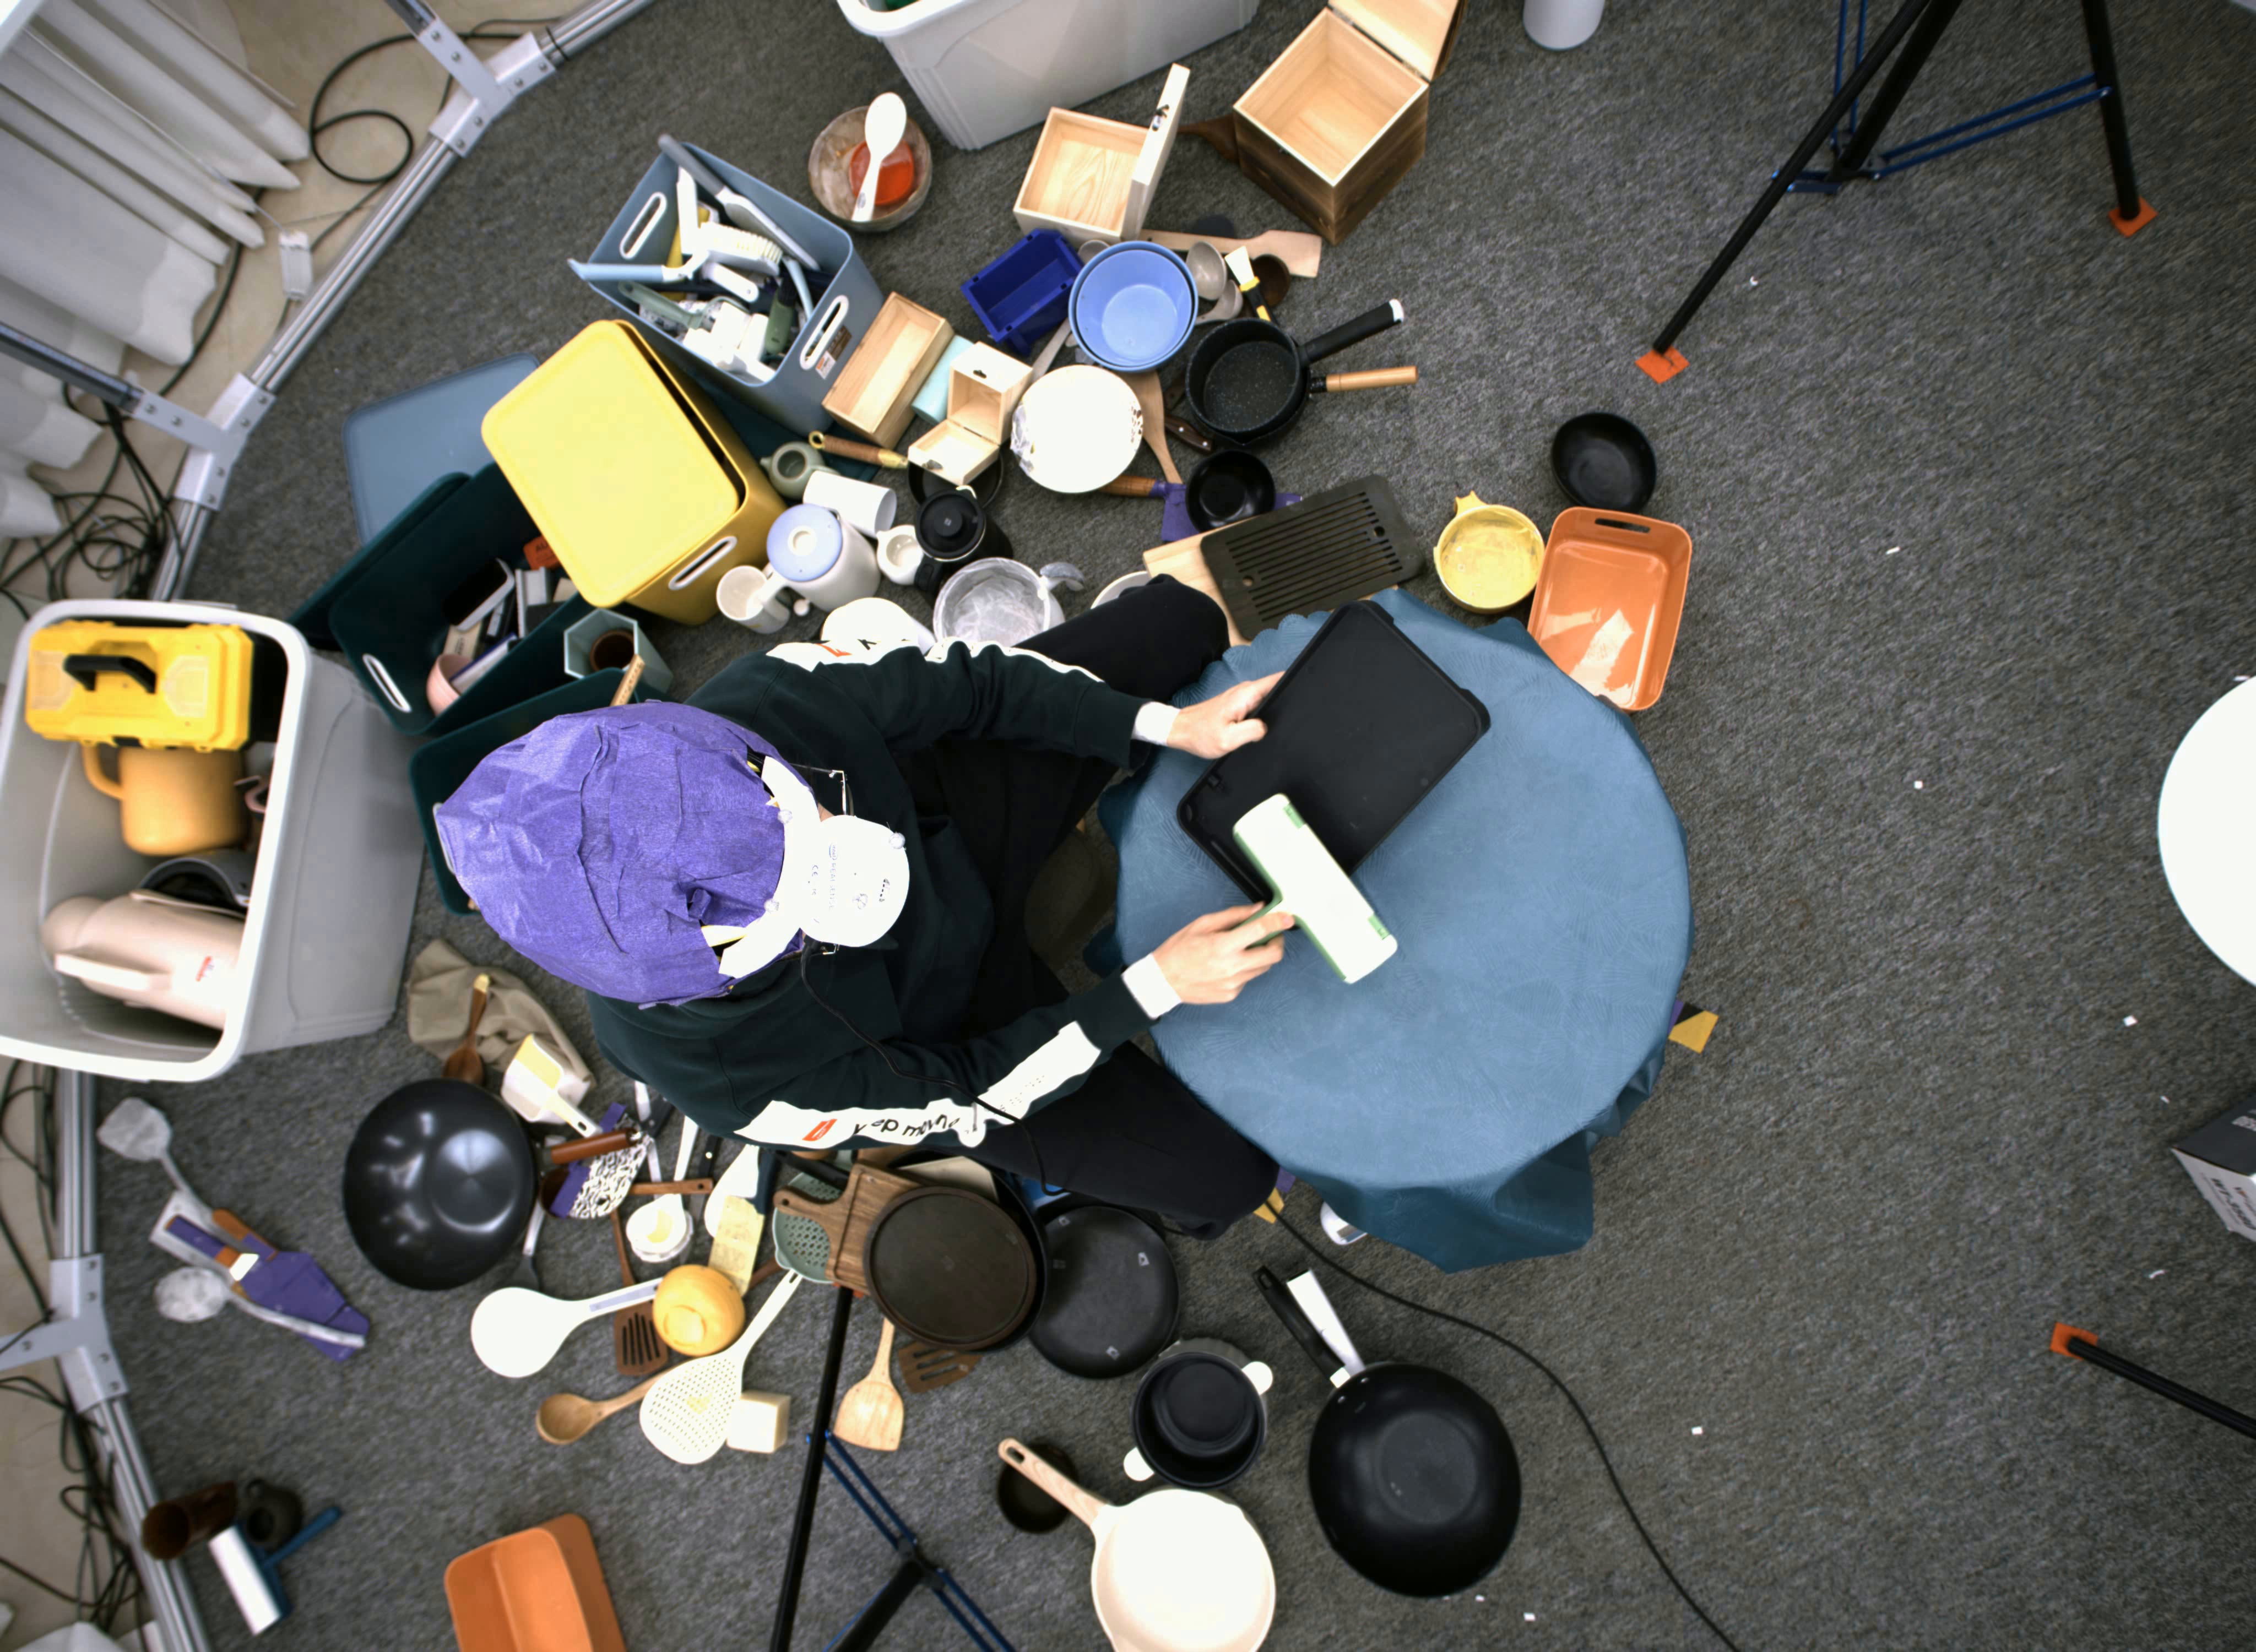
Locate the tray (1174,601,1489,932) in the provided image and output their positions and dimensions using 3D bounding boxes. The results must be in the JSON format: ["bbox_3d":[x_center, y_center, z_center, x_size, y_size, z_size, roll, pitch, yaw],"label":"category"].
[{"bbox_3d":[0.194,-0.055,1.362,0.183,0.036,0.325,46,126,10],"label":"tray"}]

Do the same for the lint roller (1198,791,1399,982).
[{"bbox_3d":[0.138,0.093,1.365,0.185,0.082,0.197,-38,81,10],"label":"lint roller"}]
